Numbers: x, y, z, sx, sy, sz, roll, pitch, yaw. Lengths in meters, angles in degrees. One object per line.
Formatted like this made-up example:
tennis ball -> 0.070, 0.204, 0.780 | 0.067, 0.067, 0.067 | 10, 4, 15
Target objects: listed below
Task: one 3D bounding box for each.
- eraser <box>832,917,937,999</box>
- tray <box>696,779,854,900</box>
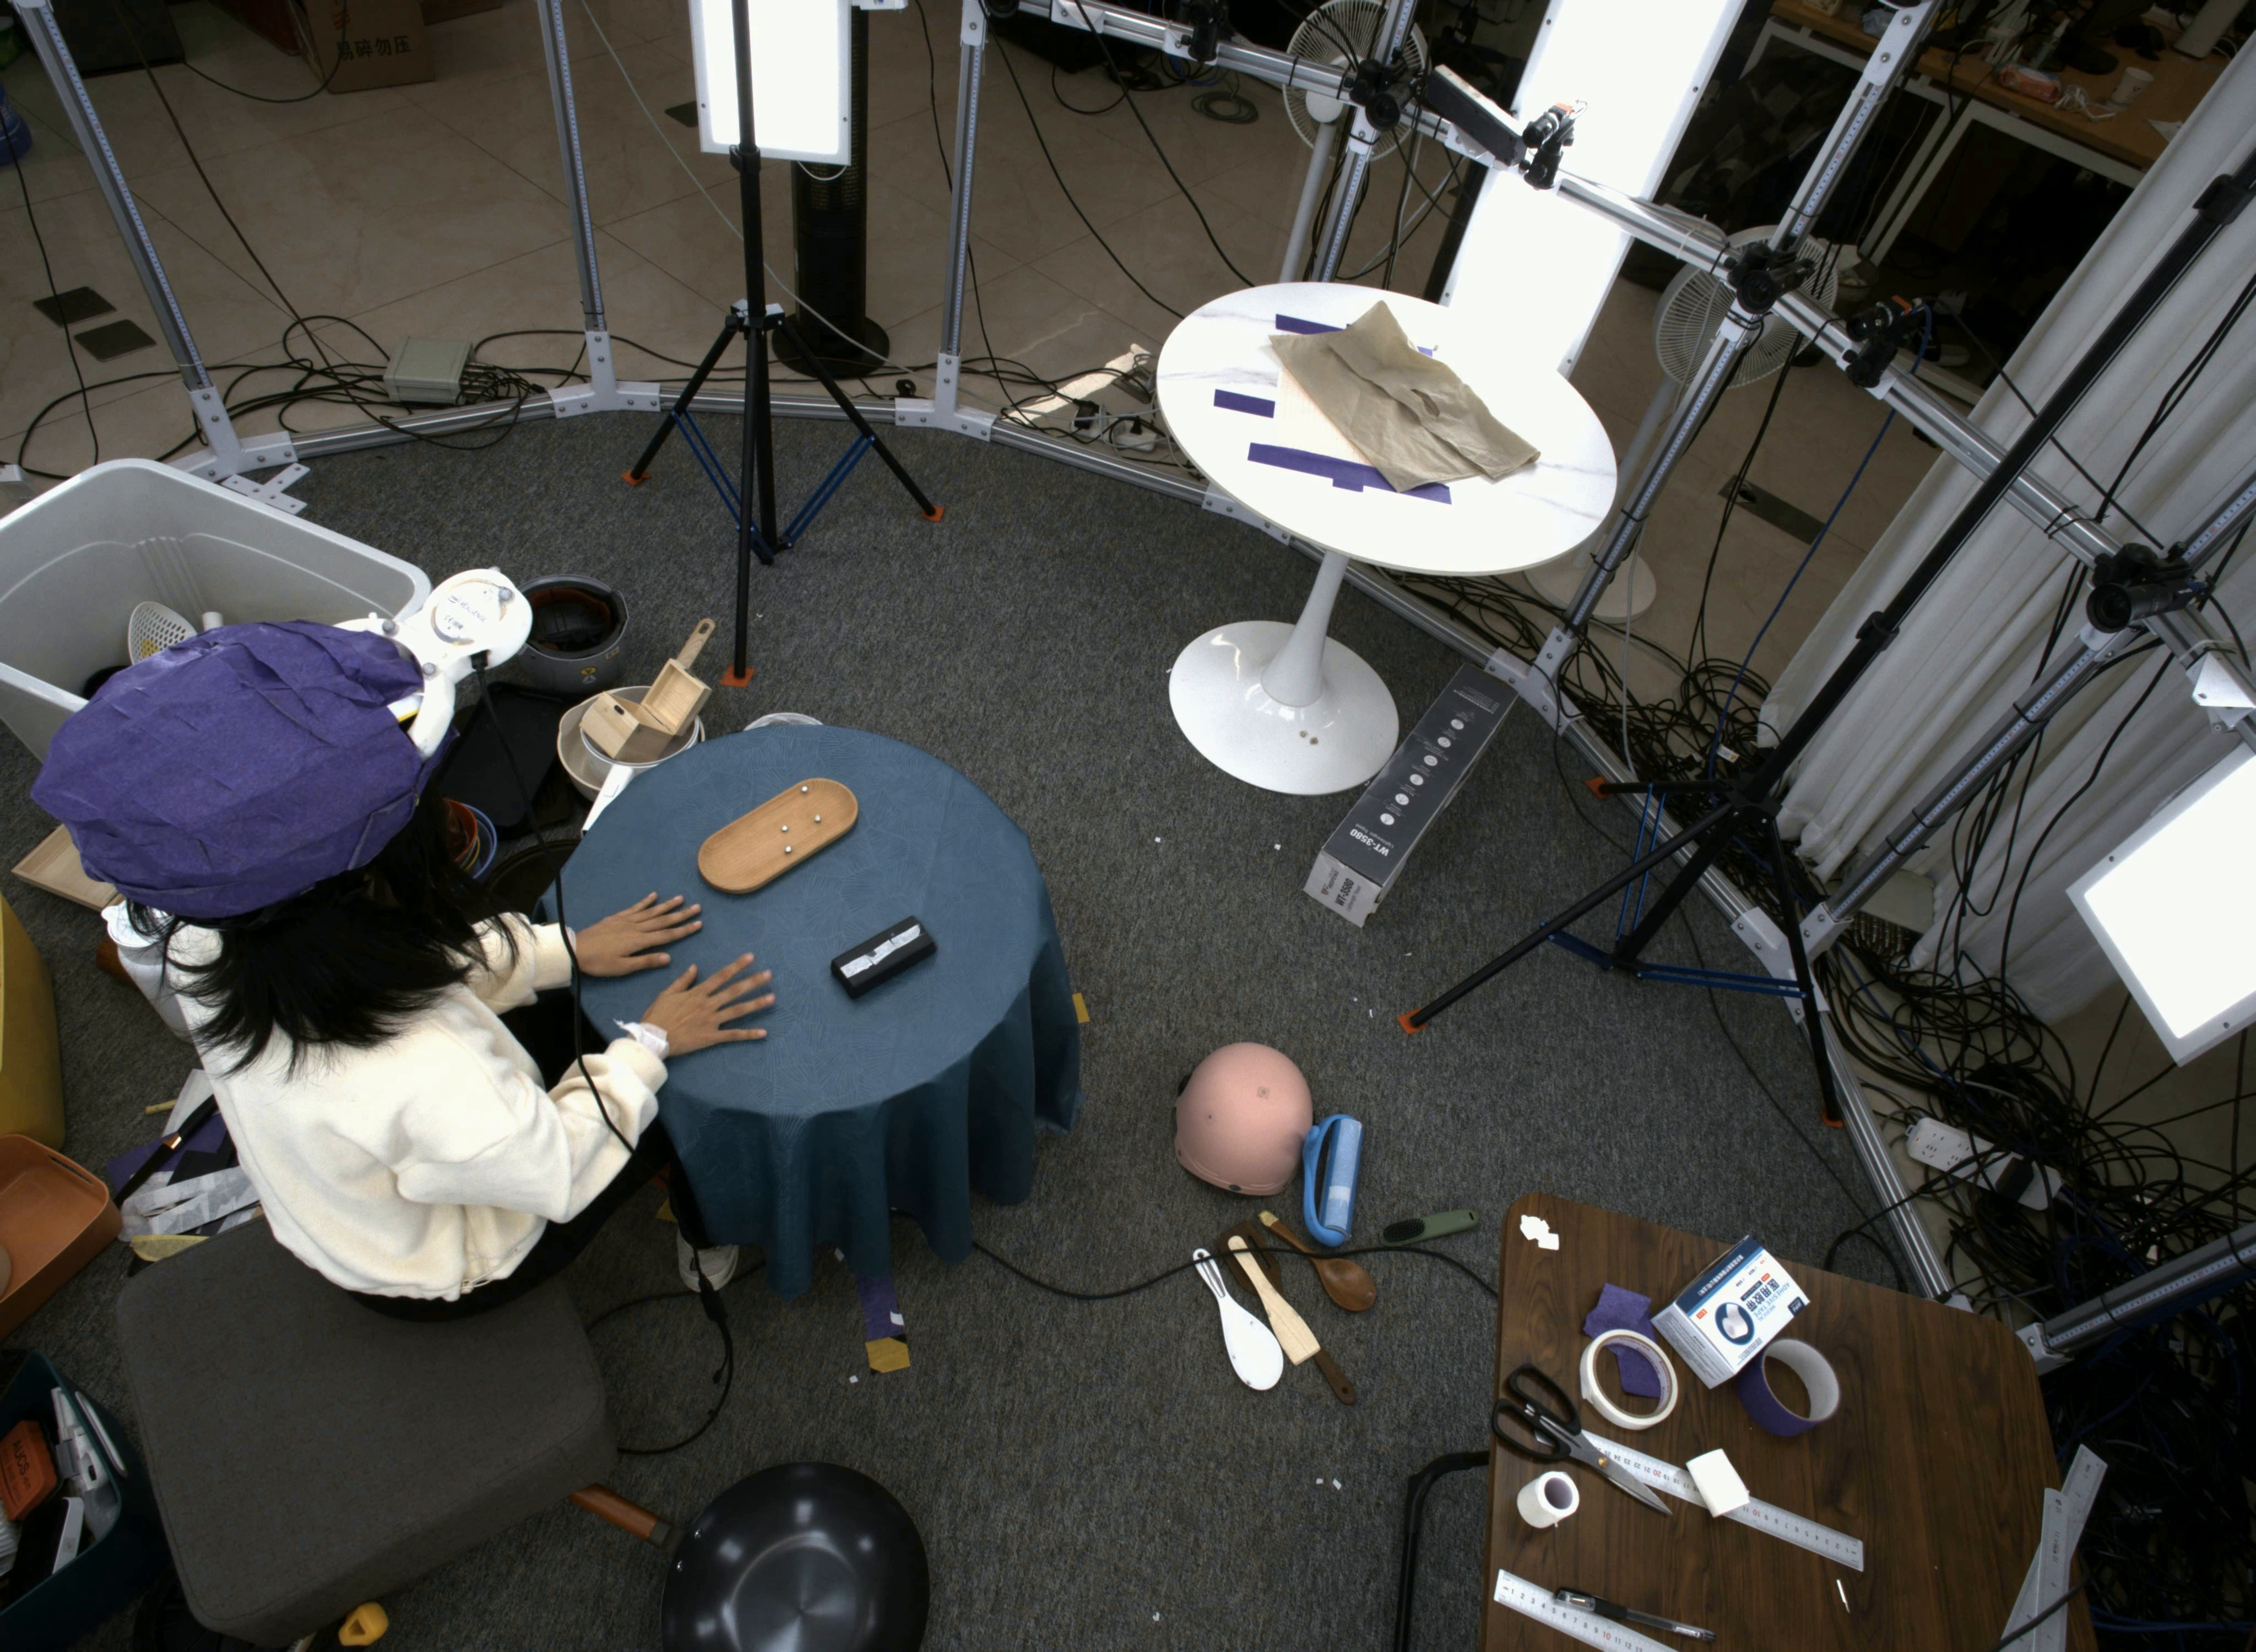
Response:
eraser -> -0.301, 0.160, 1.613 | 0.126, 0.031, 0.052 | -31, 60, -33
tray -> -0.458, 0.014, 1.689 | 0.099, 0.021, 0.231 | 40, 56, 16
